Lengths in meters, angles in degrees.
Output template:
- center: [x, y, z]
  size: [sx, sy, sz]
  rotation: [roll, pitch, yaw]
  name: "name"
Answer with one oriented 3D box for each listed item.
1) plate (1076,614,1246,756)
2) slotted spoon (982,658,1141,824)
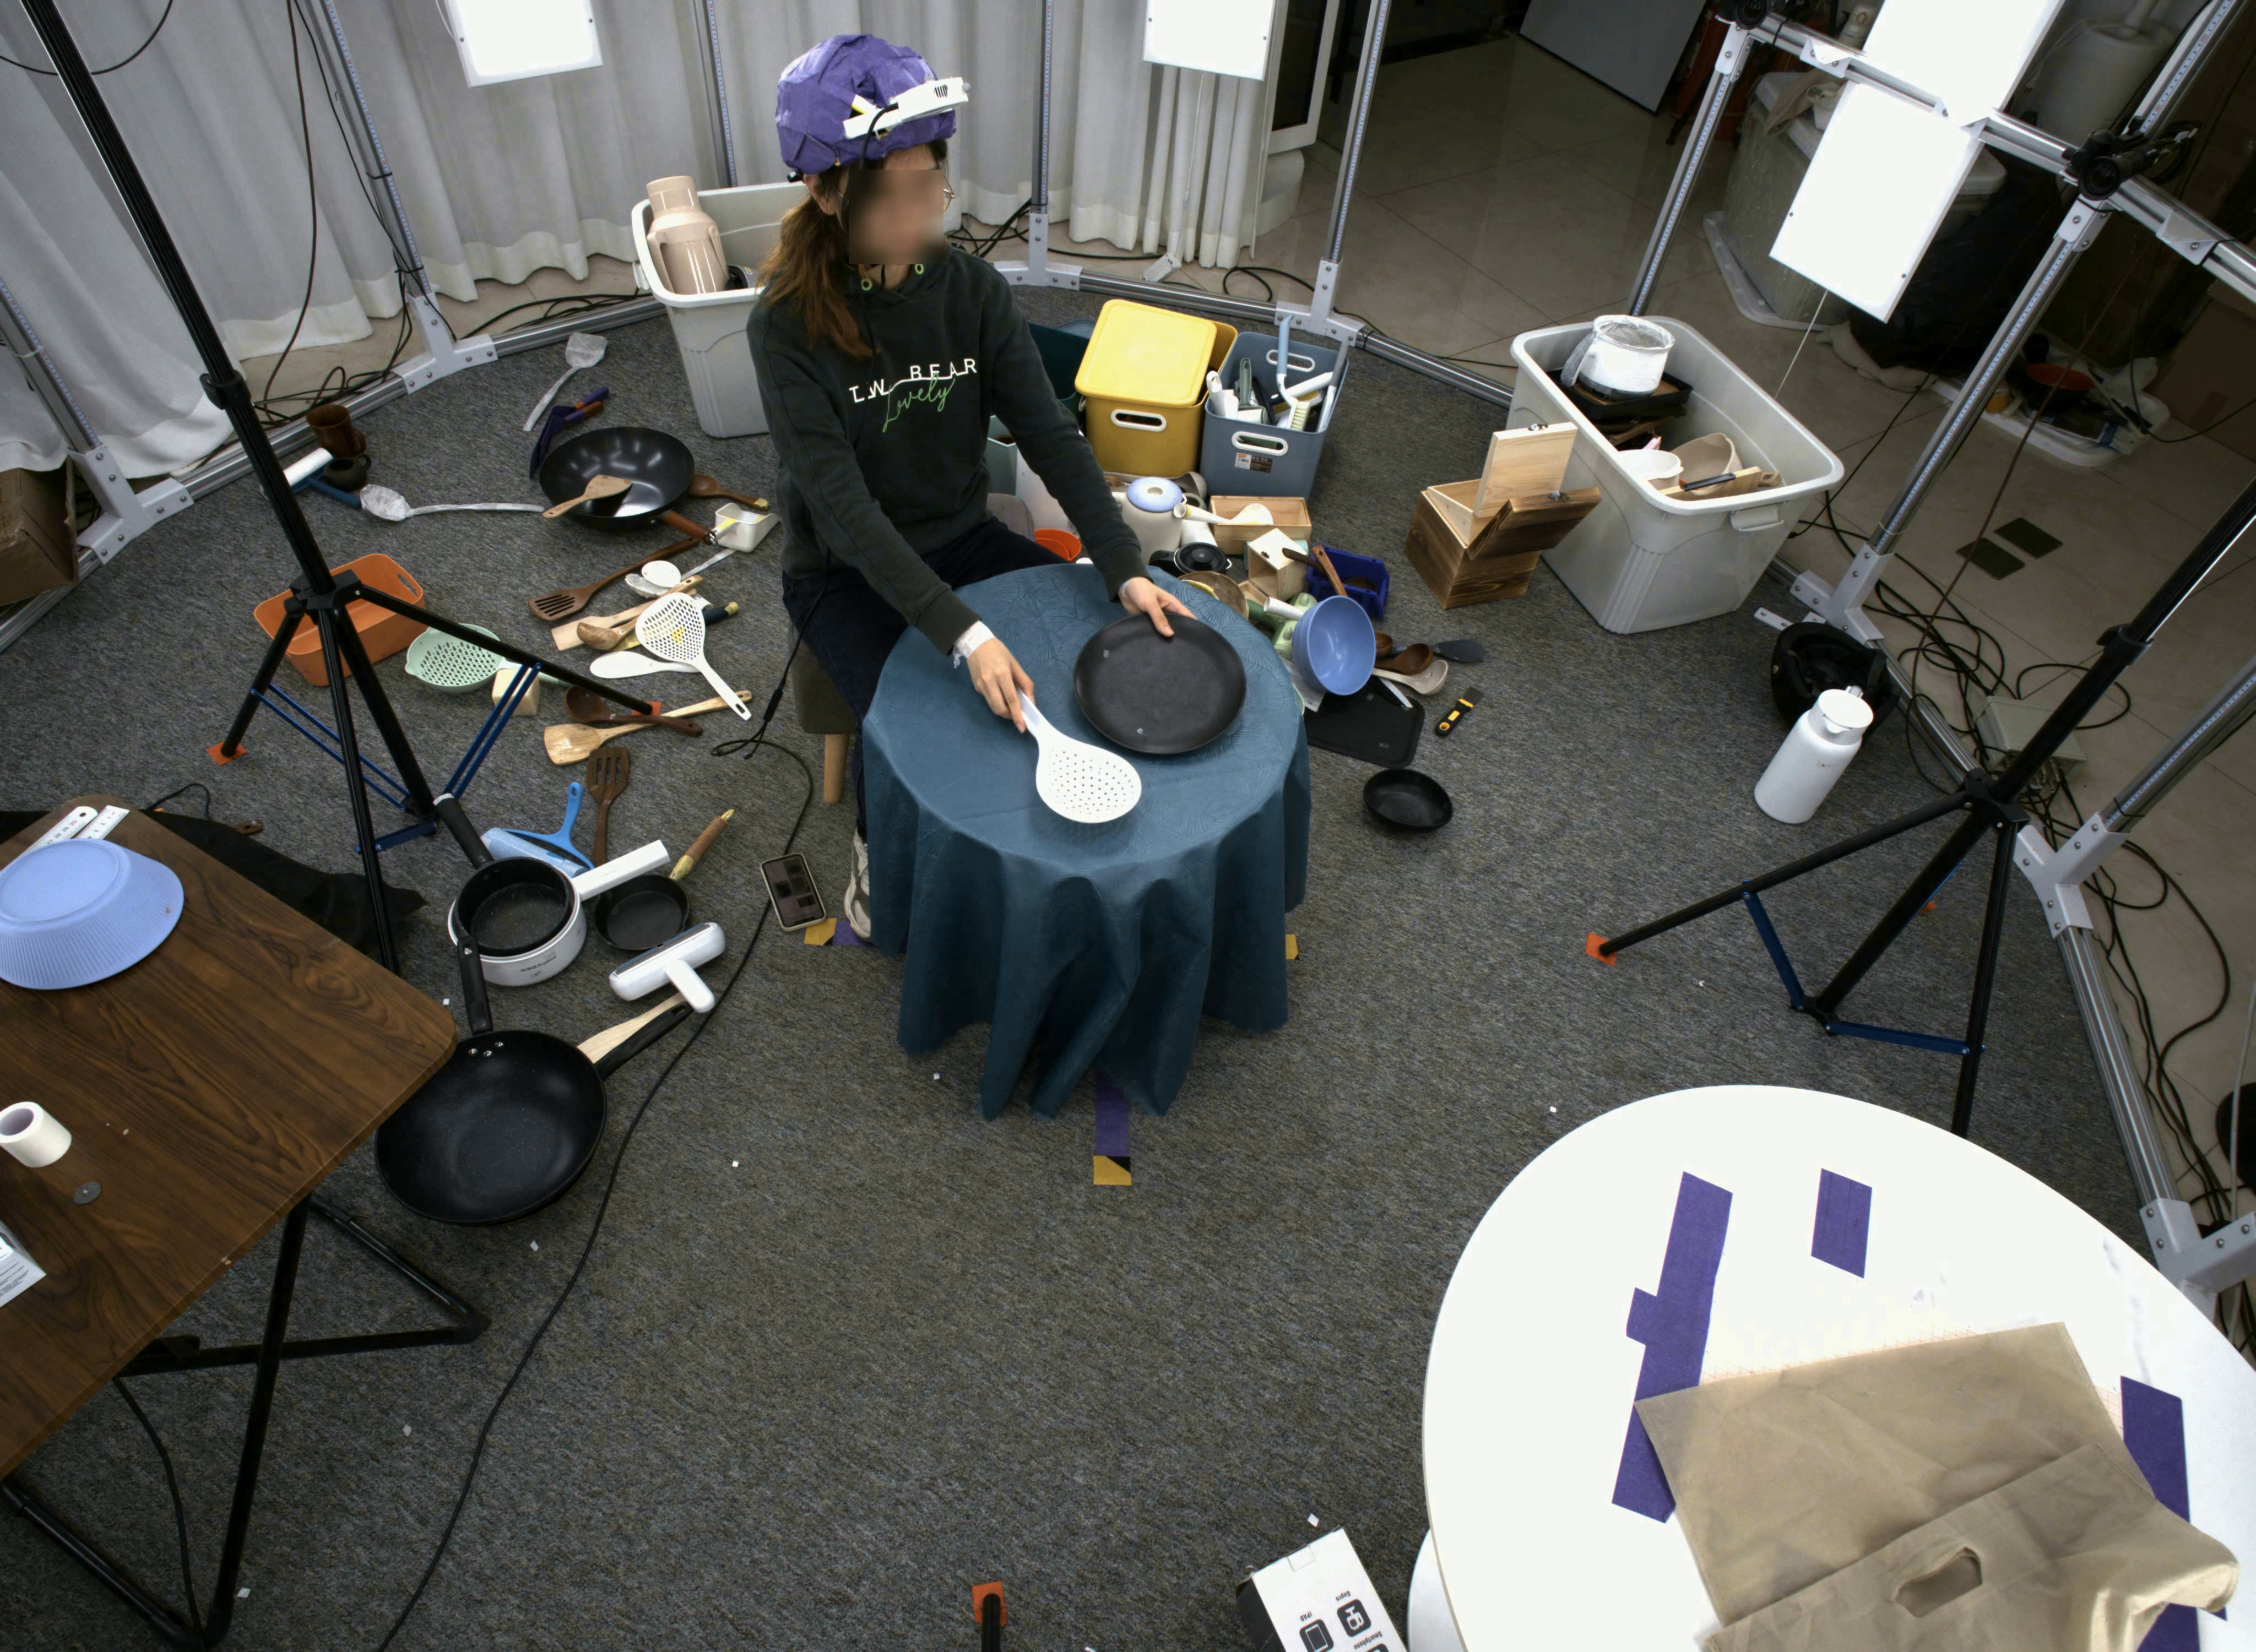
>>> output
- center: [0.046, -0.199, 1.824]
  size: [0.244, 0.023, 0.250]
  rotation: [1, 59, -1]
  name: "plate"
- center: [-0.108, -0.121, 1.743]
  size: [0.136, 0.044, 0.357]
  rotation: [-19, 56, -26]
  name: "slotted spoon"
